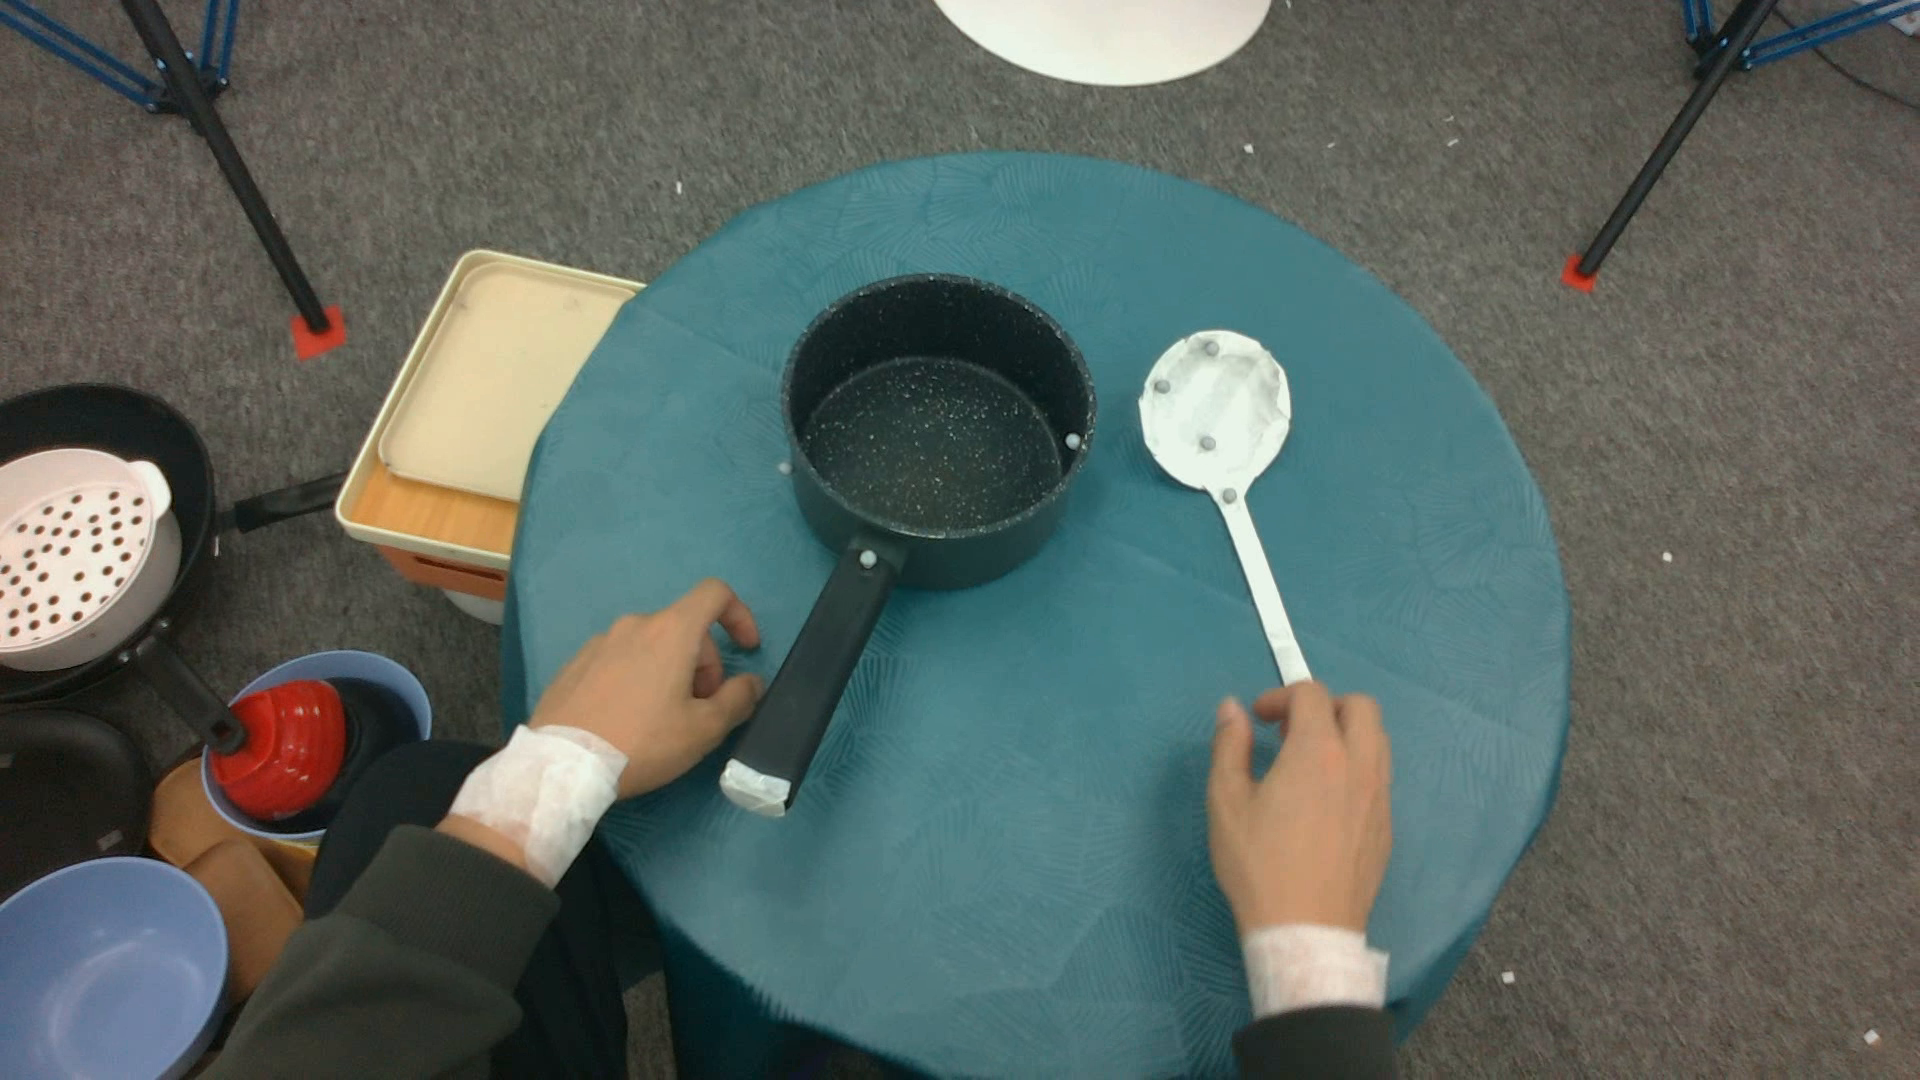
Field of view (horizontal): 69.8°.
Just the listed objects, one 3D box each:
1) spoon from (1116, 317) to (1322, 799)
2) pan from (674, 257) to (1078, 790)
[{"bbox_3d":[0.155,0.004,0.764,0.101,0.059,0.278,-8,62,-8],"label":"spoon"},{"bbox_3d":[-0.054,-0.006,0.730,0.172,0.086,0.330,22,60,7],"label":"pan"}]
